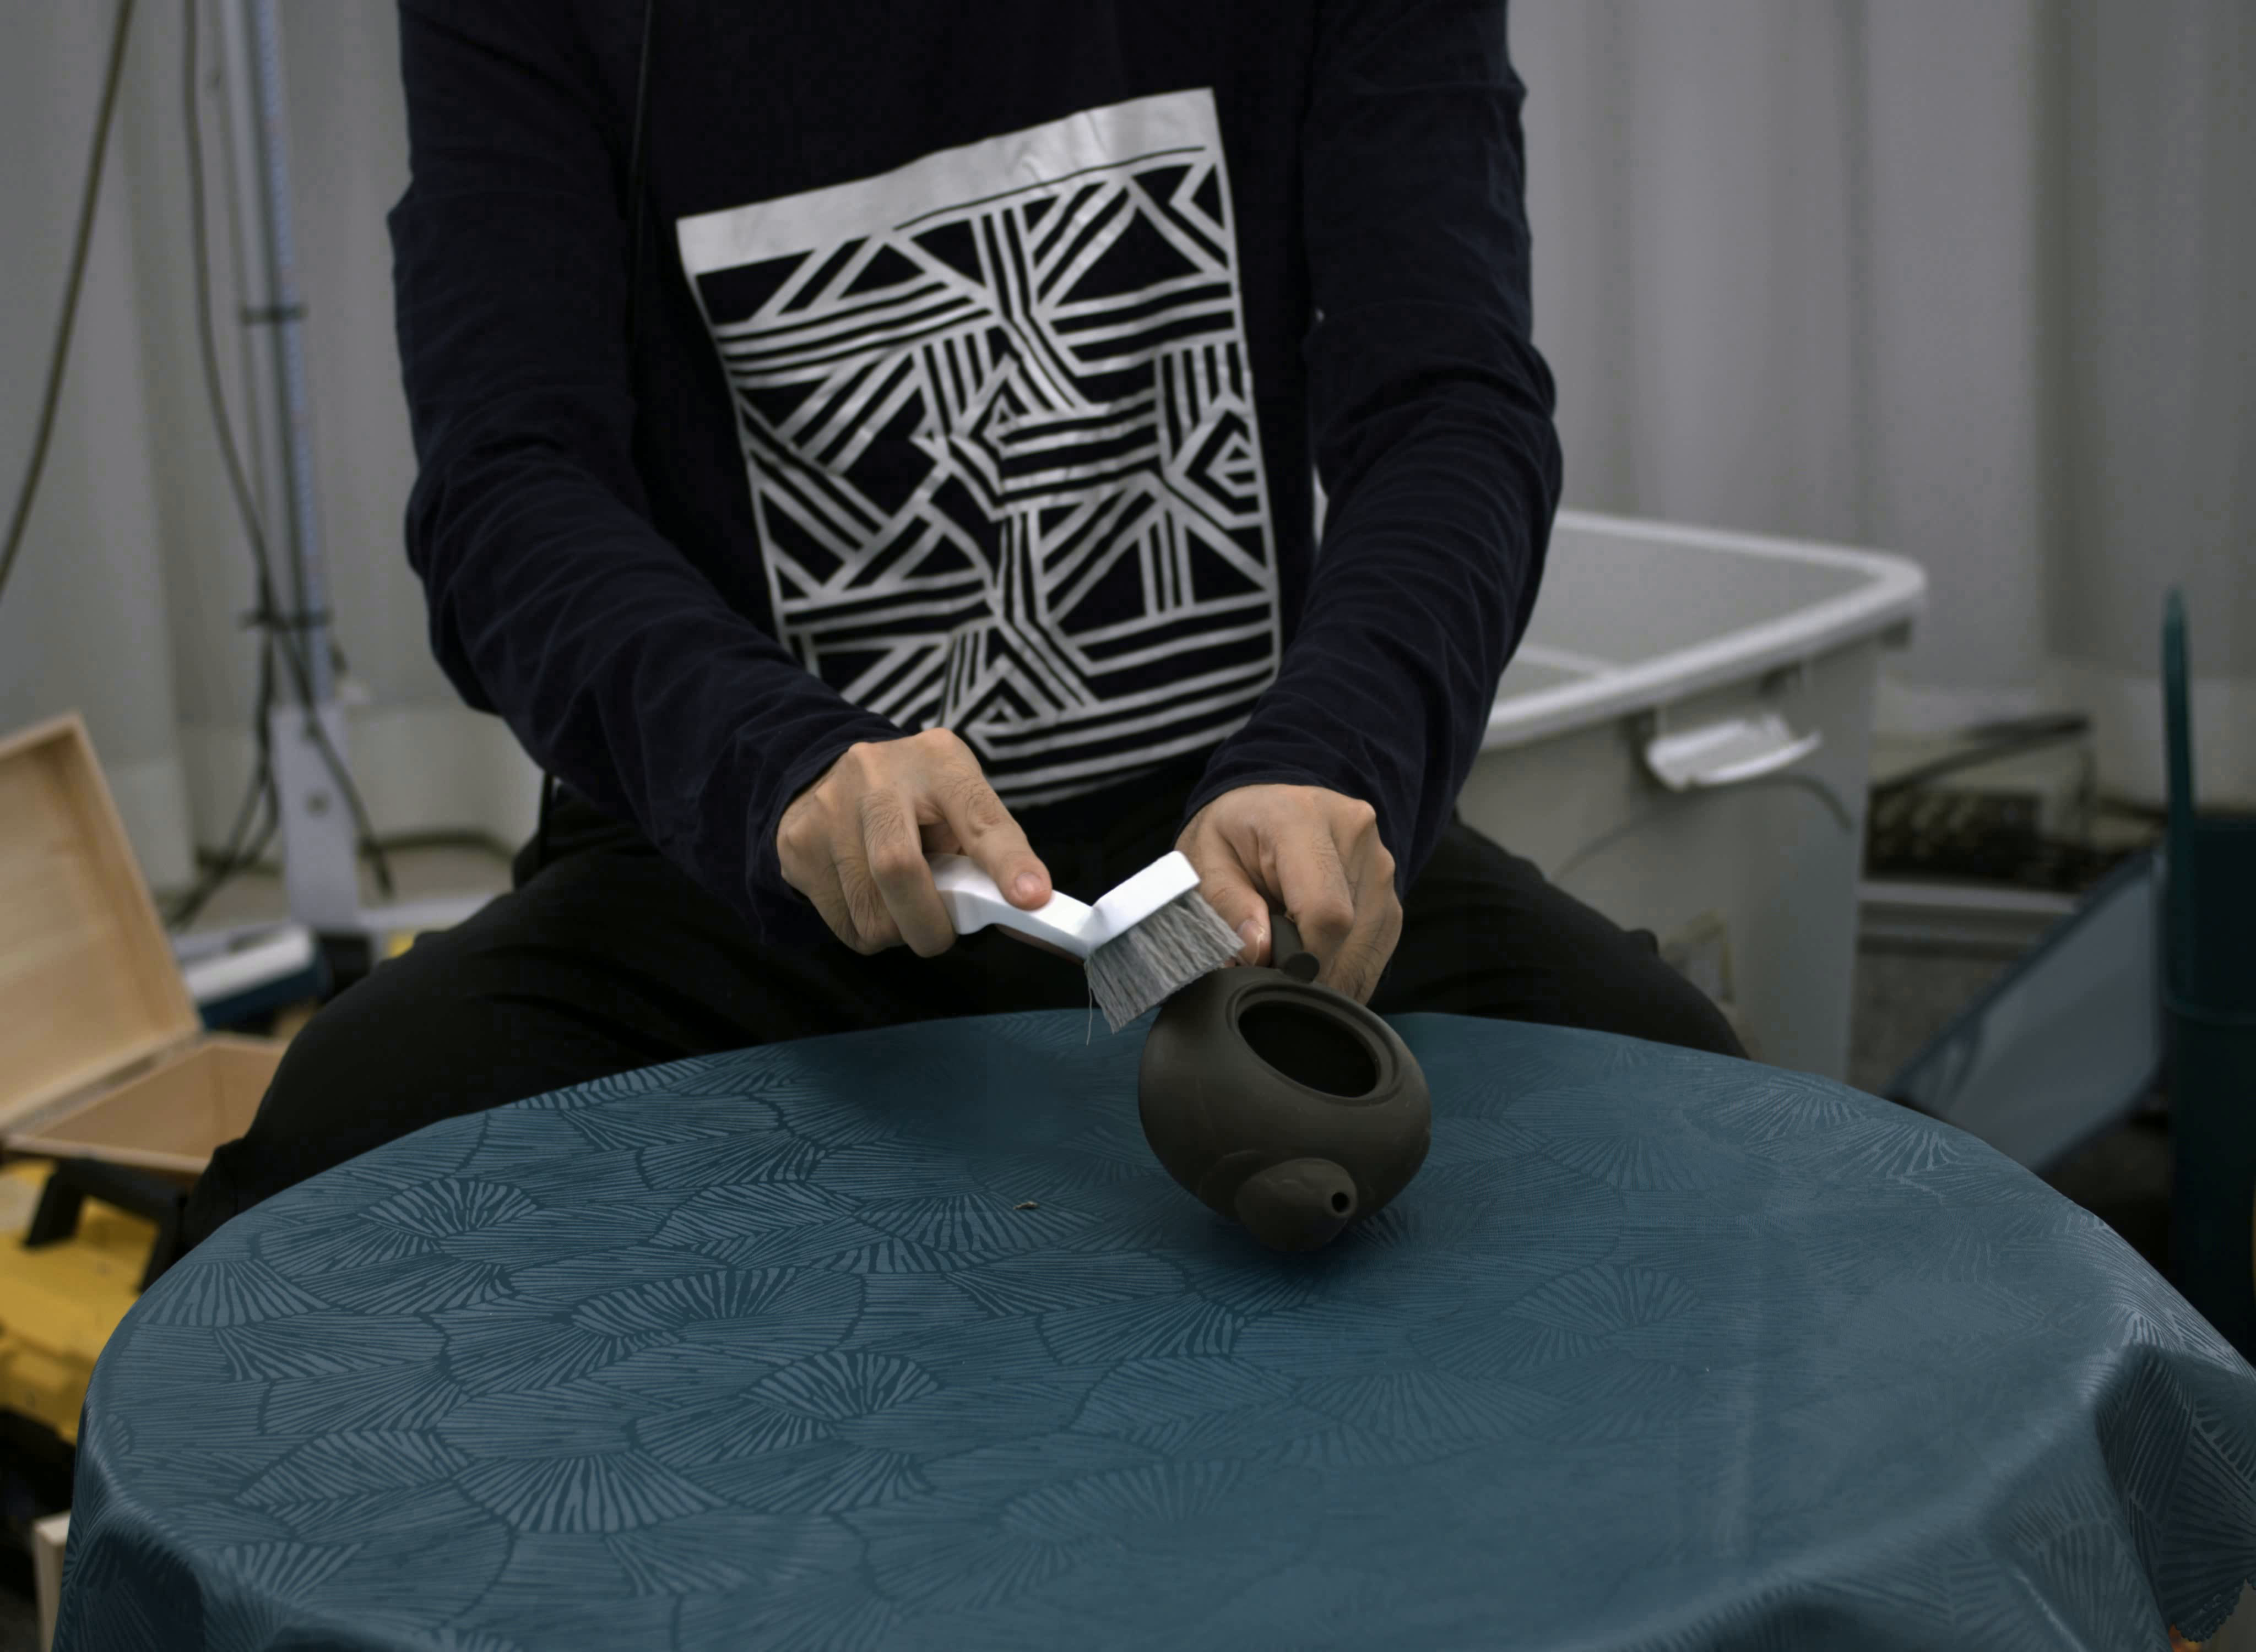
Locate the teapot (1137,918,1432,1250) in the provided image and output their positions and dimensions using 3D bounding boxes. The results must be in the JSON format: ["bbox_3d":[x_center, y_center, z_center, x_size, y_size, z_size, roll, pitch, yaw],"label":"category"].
[{"bbox_3d":[0.047,0.083,1.673,0.092,0.064,0.156,16,31,-16],"label":"teapot"}]

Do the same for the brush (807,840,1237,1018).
[{"bbox_3d":[-0.036,0.035,1.741,0.034,0.050,0.244,-38,15,-23],"label":"brush"}]
